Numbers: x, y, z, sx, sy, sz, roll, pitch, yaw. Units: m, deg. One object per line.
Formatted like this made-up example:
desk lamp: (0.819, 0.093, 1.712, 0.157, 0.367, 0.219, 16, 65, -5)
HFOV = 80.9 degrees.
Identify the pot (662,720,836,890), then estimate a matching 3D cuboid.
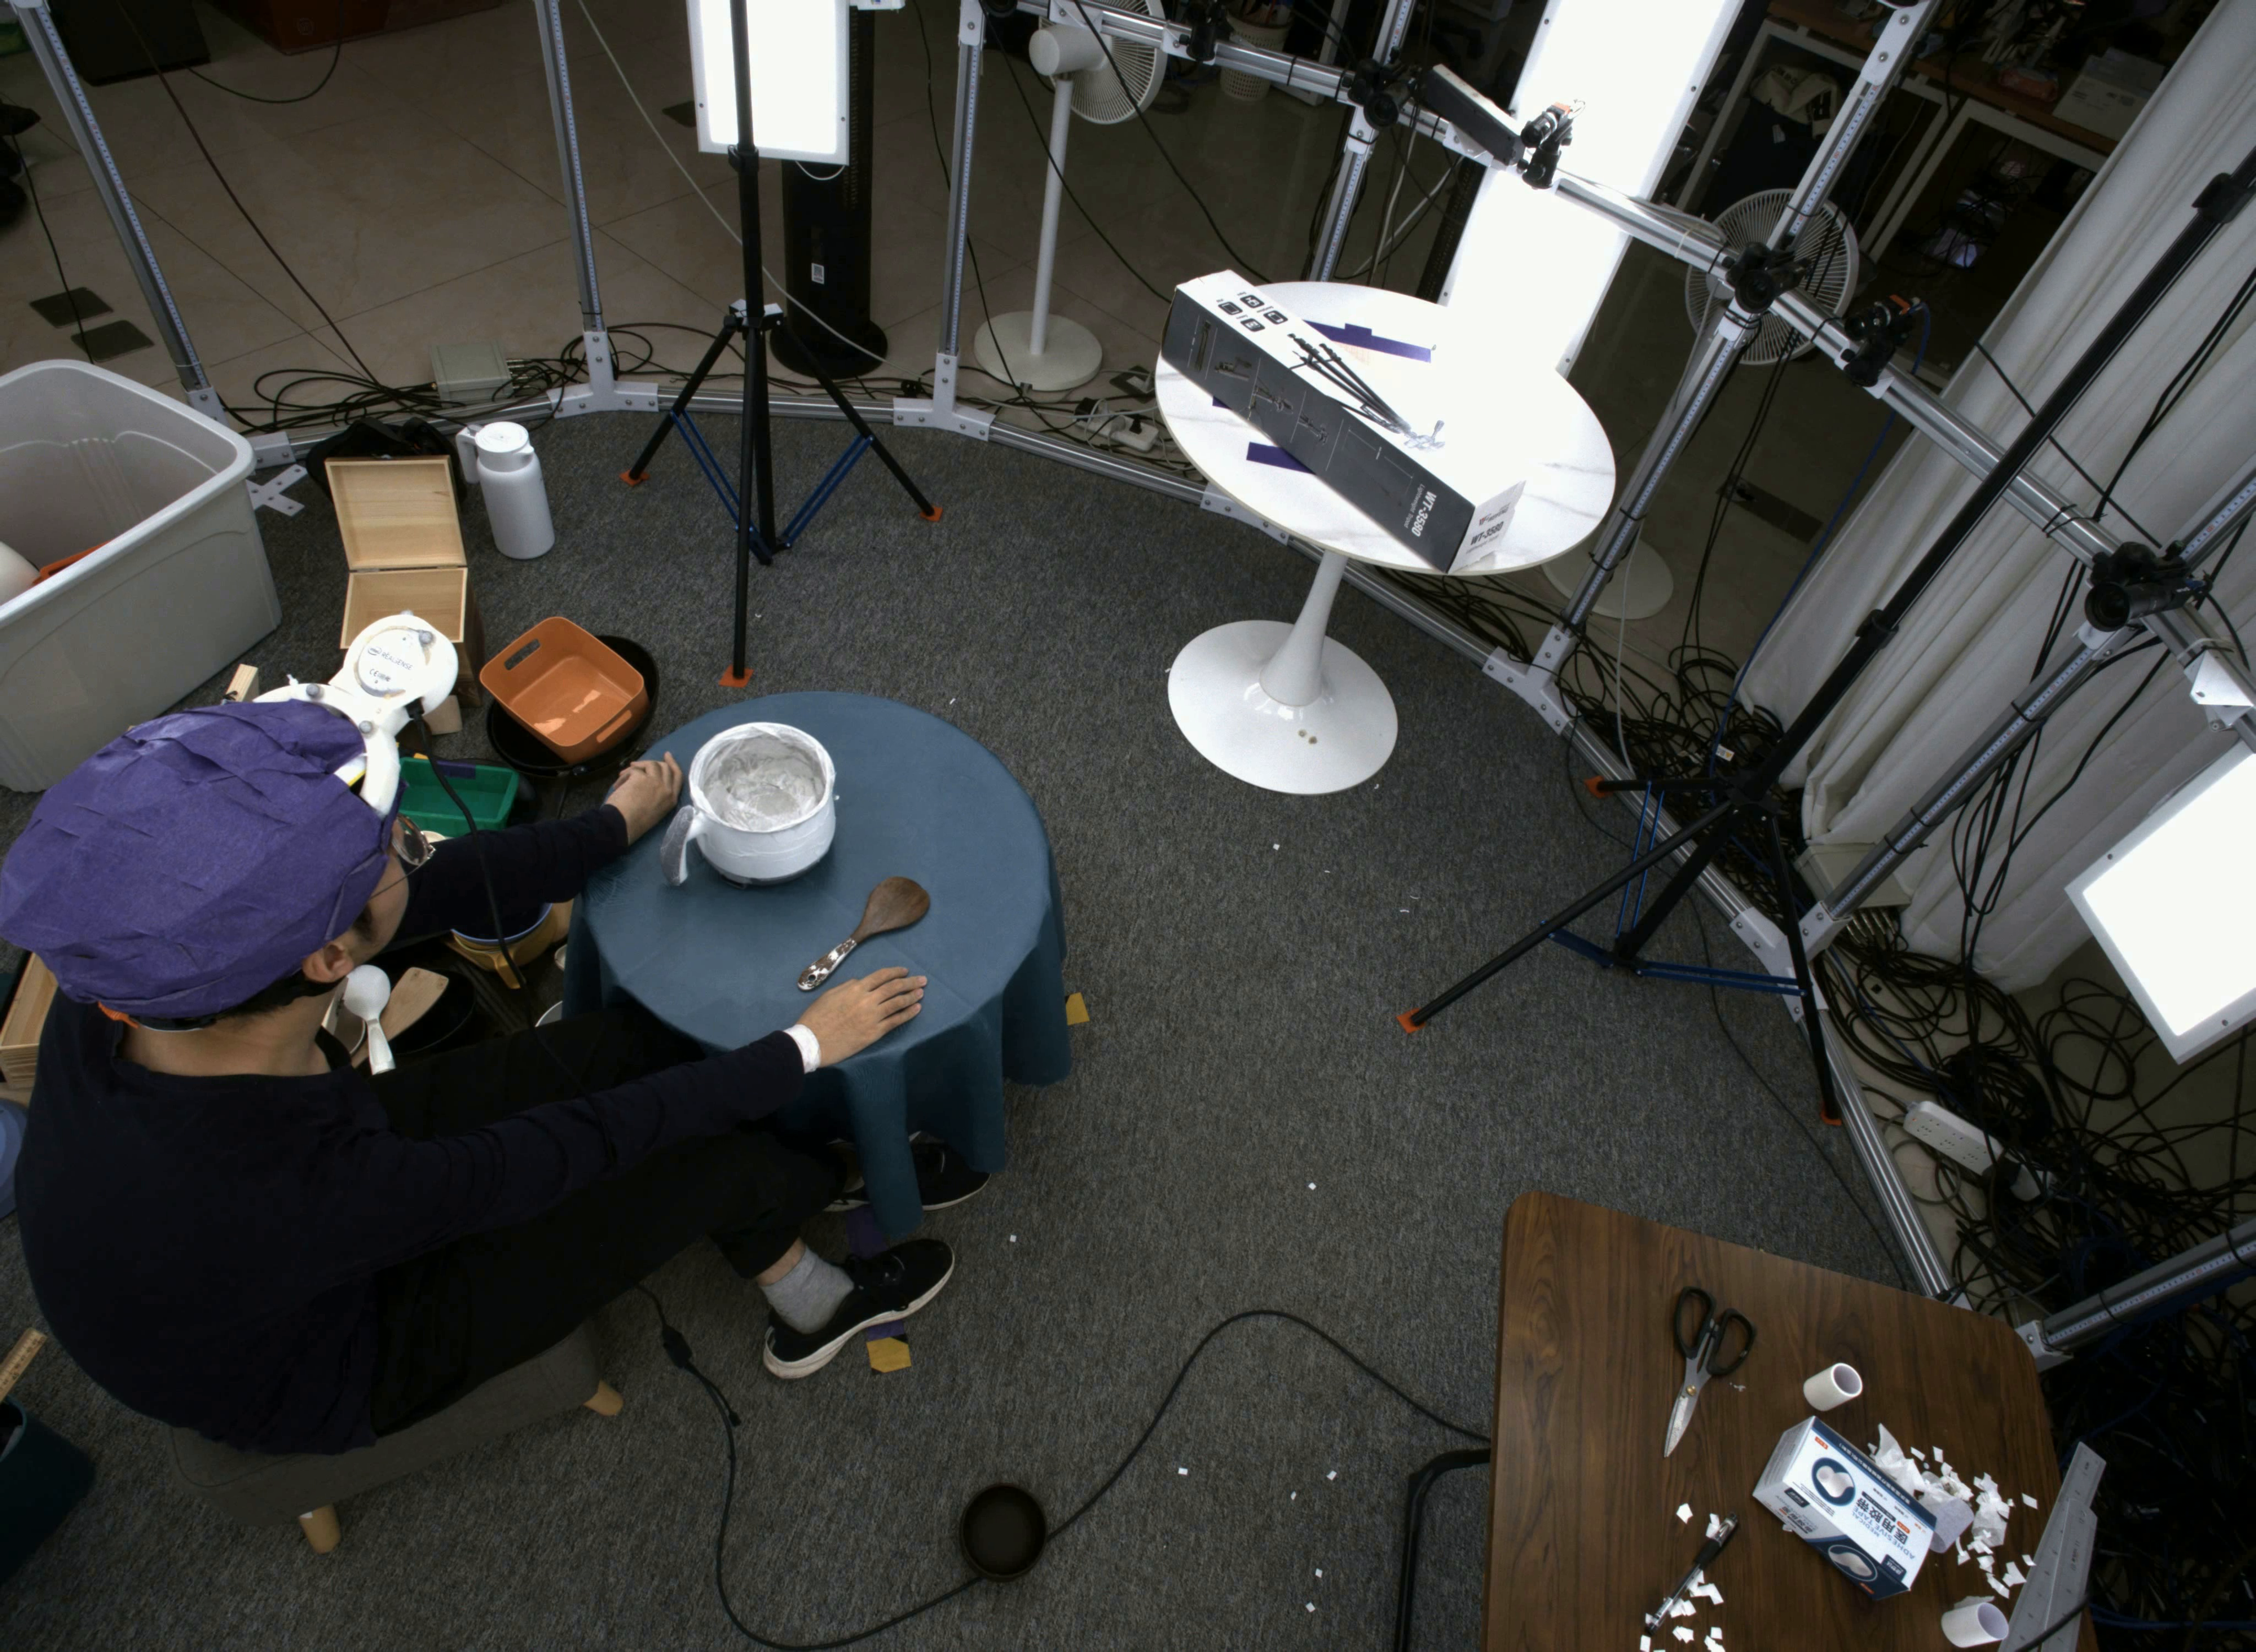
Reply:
pot: (-0.485, -0.014, 1.639, 0.234, 0.140, 0.174, -32, 63, -33)

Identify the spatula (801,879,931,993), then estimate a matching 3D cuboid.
spatula: (-0.338, 0.137, 1.652, 0.070, 0.009, 0.215, 35, 54, 15)
